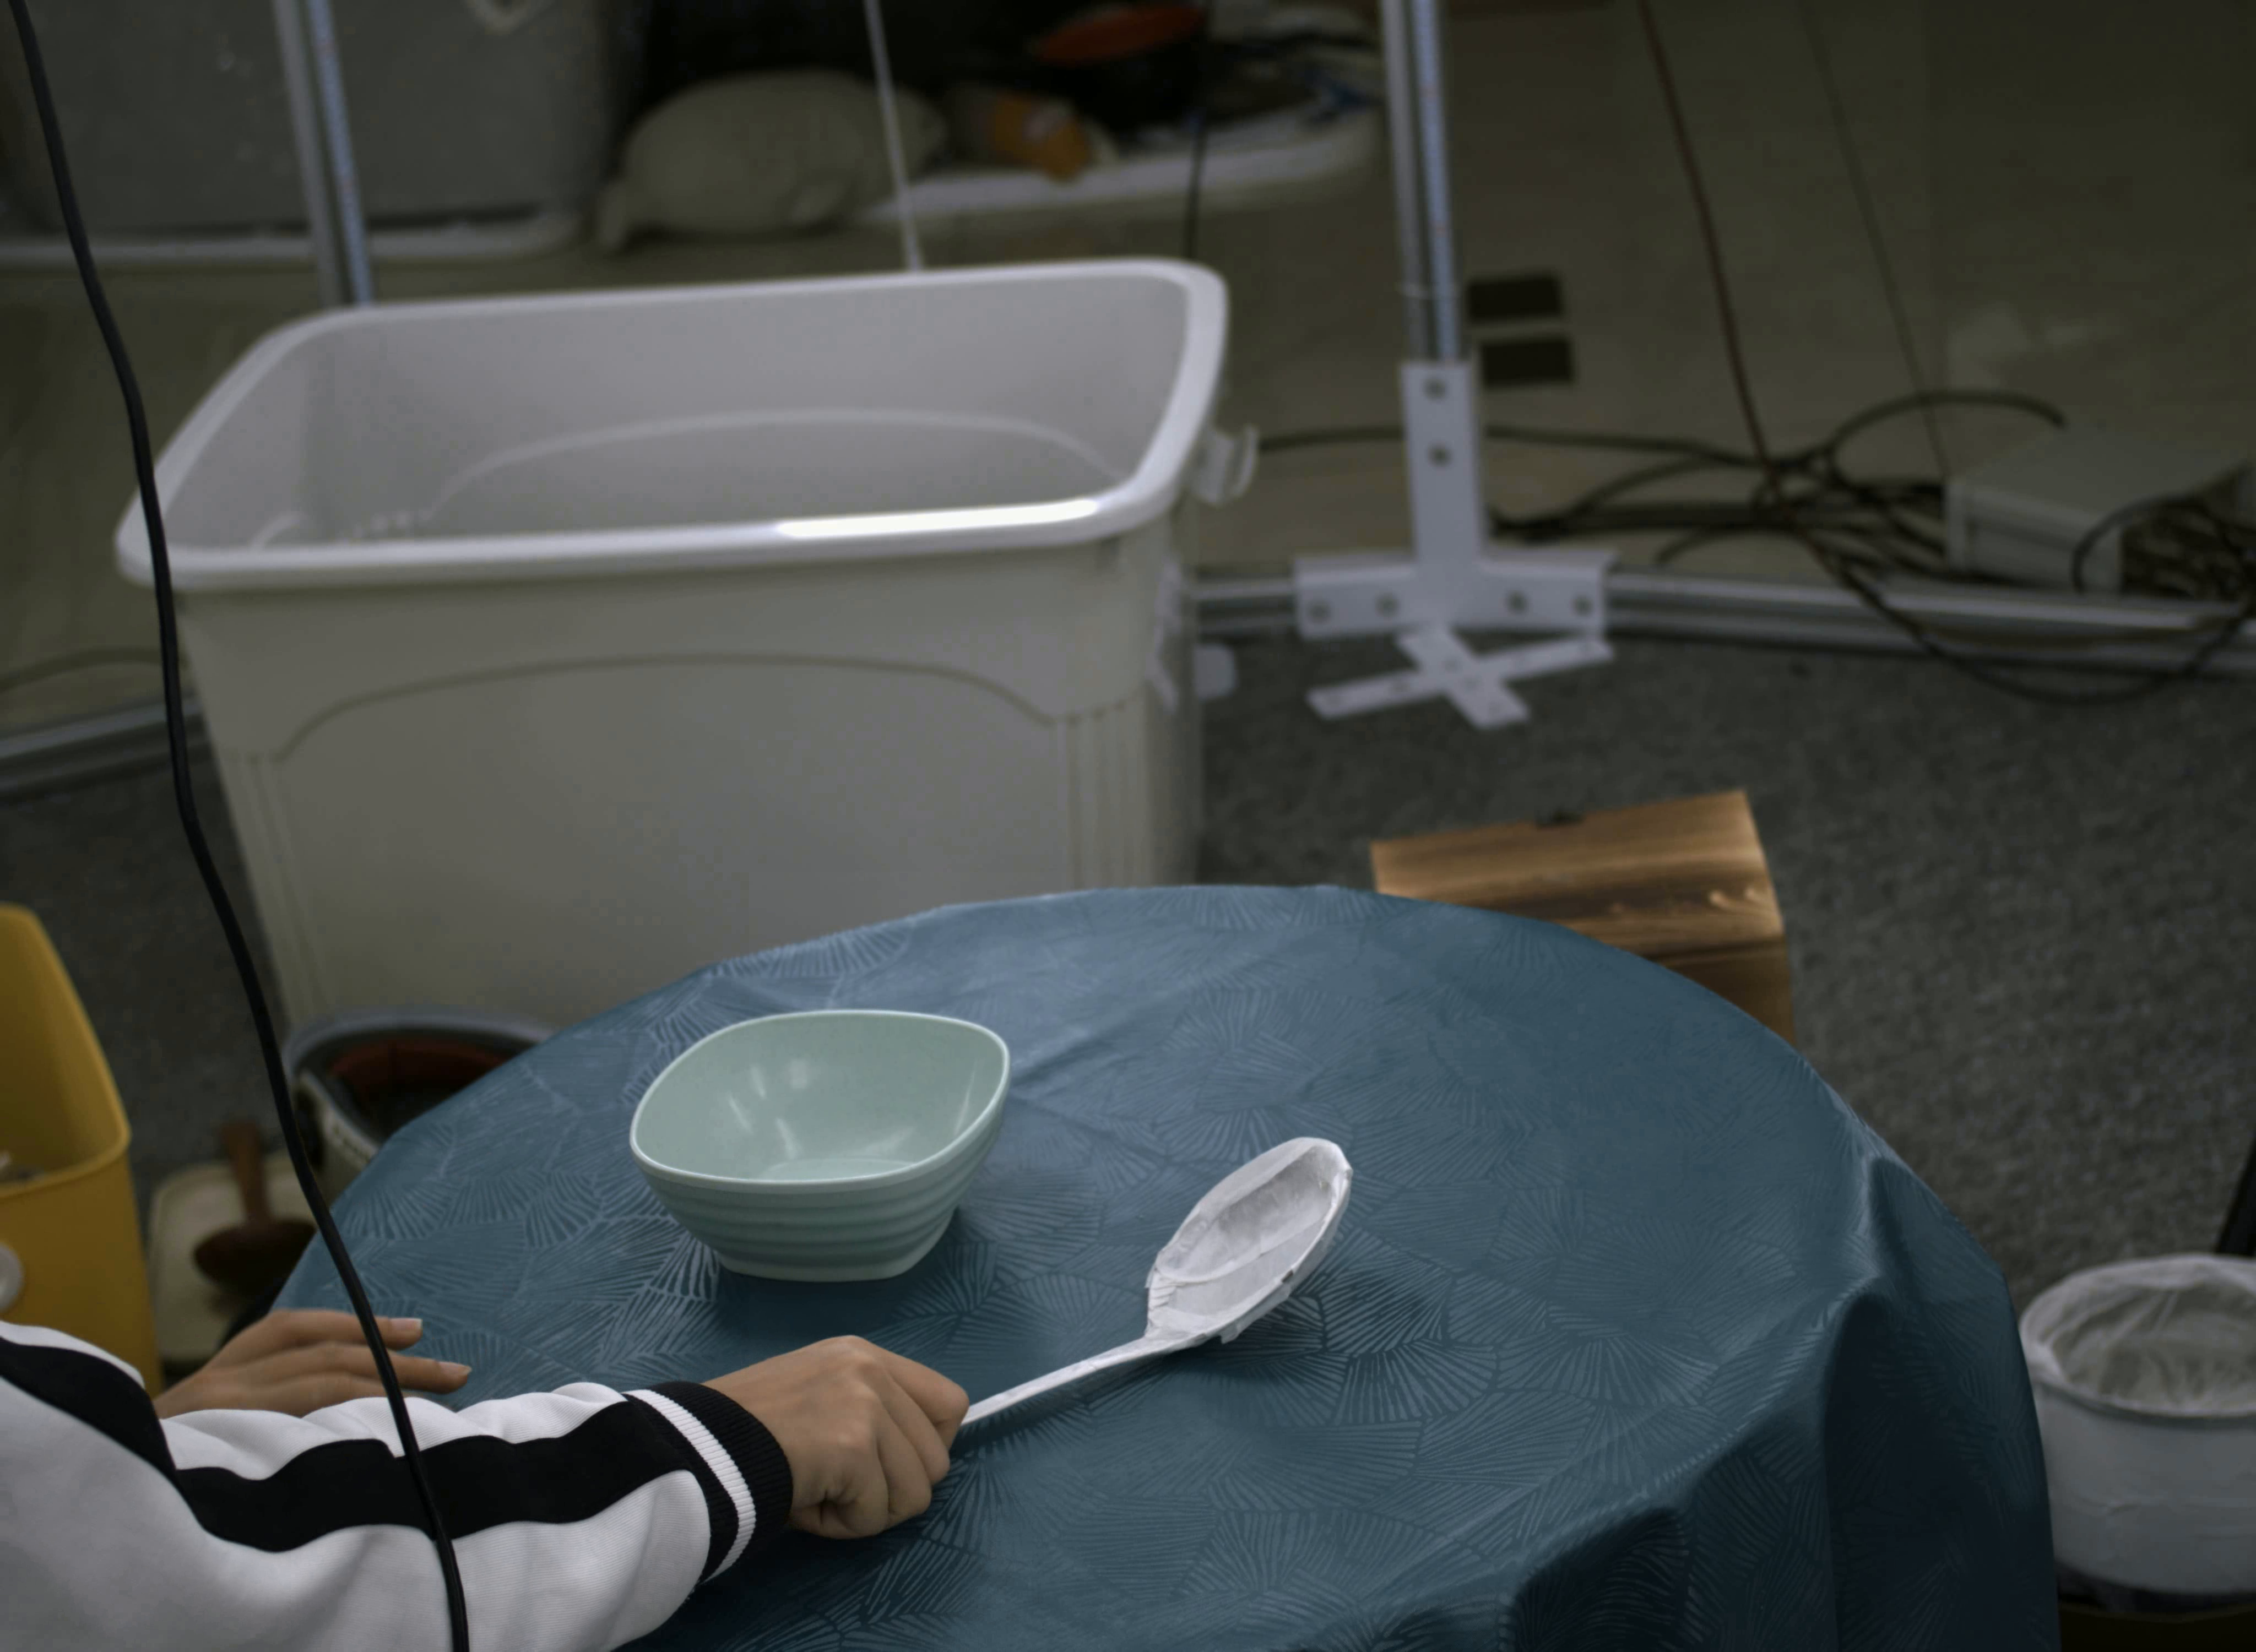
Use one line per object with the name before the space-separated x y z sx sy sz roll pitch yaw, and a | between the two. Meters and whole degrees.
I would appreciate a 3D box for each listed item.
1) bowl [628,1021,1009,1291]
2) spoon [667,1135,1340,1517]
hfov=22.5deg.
bowl | -0.113 0.129 2.135 0.151 0.059 0.149 -6 25 3
spoon | -0.046 0.175 2.009 0.276 0.059 0.100 -16 5 -25
